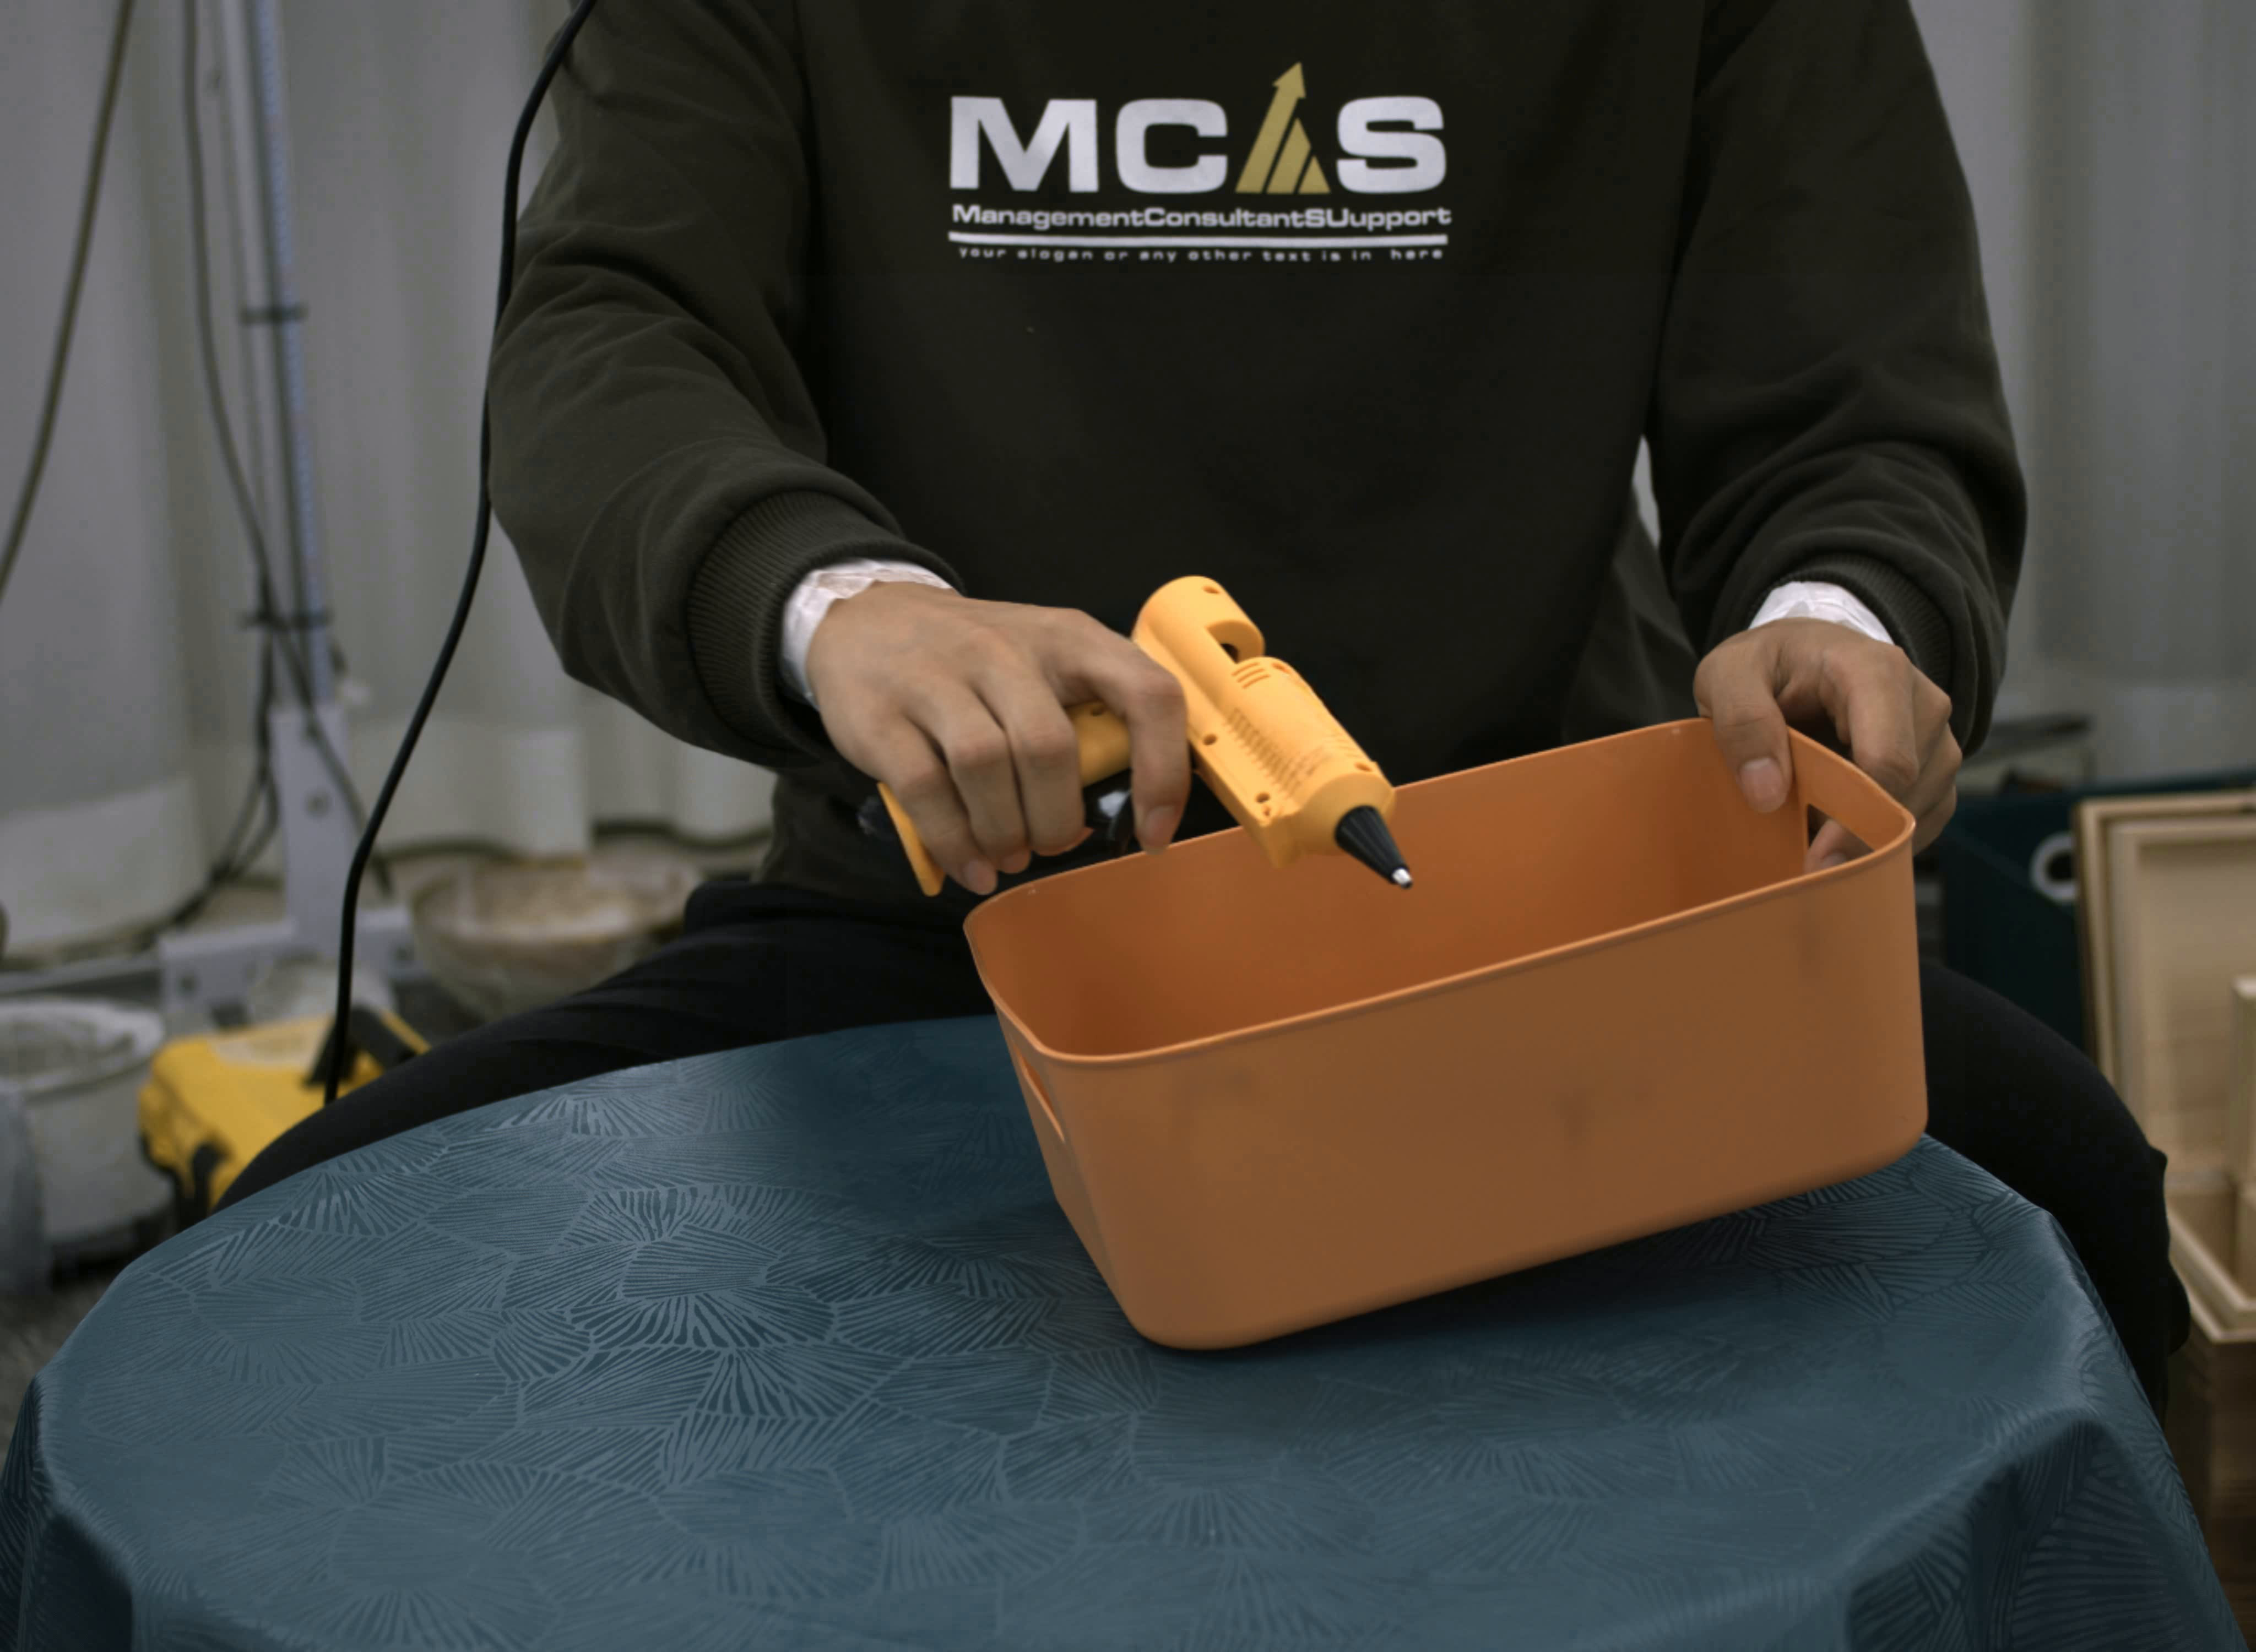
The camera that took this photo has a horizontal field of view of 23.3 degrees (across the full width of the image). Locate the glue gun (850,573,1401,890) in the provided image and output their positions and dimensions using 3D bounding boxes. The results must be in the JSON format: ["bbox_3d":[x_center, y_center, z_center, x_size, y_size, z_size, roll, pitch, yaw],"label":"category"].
[{"bbox_3d":[0.007,-0.001,1.595,0.133,0.030,0.153,-32,43,-12],"label":"glue gun"}]

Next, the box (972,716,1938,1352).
[{"bbox_3d":[0.100,0.061,1.644,0.272,0.102,0.201,-15,15,-9],"label":"box"}]
